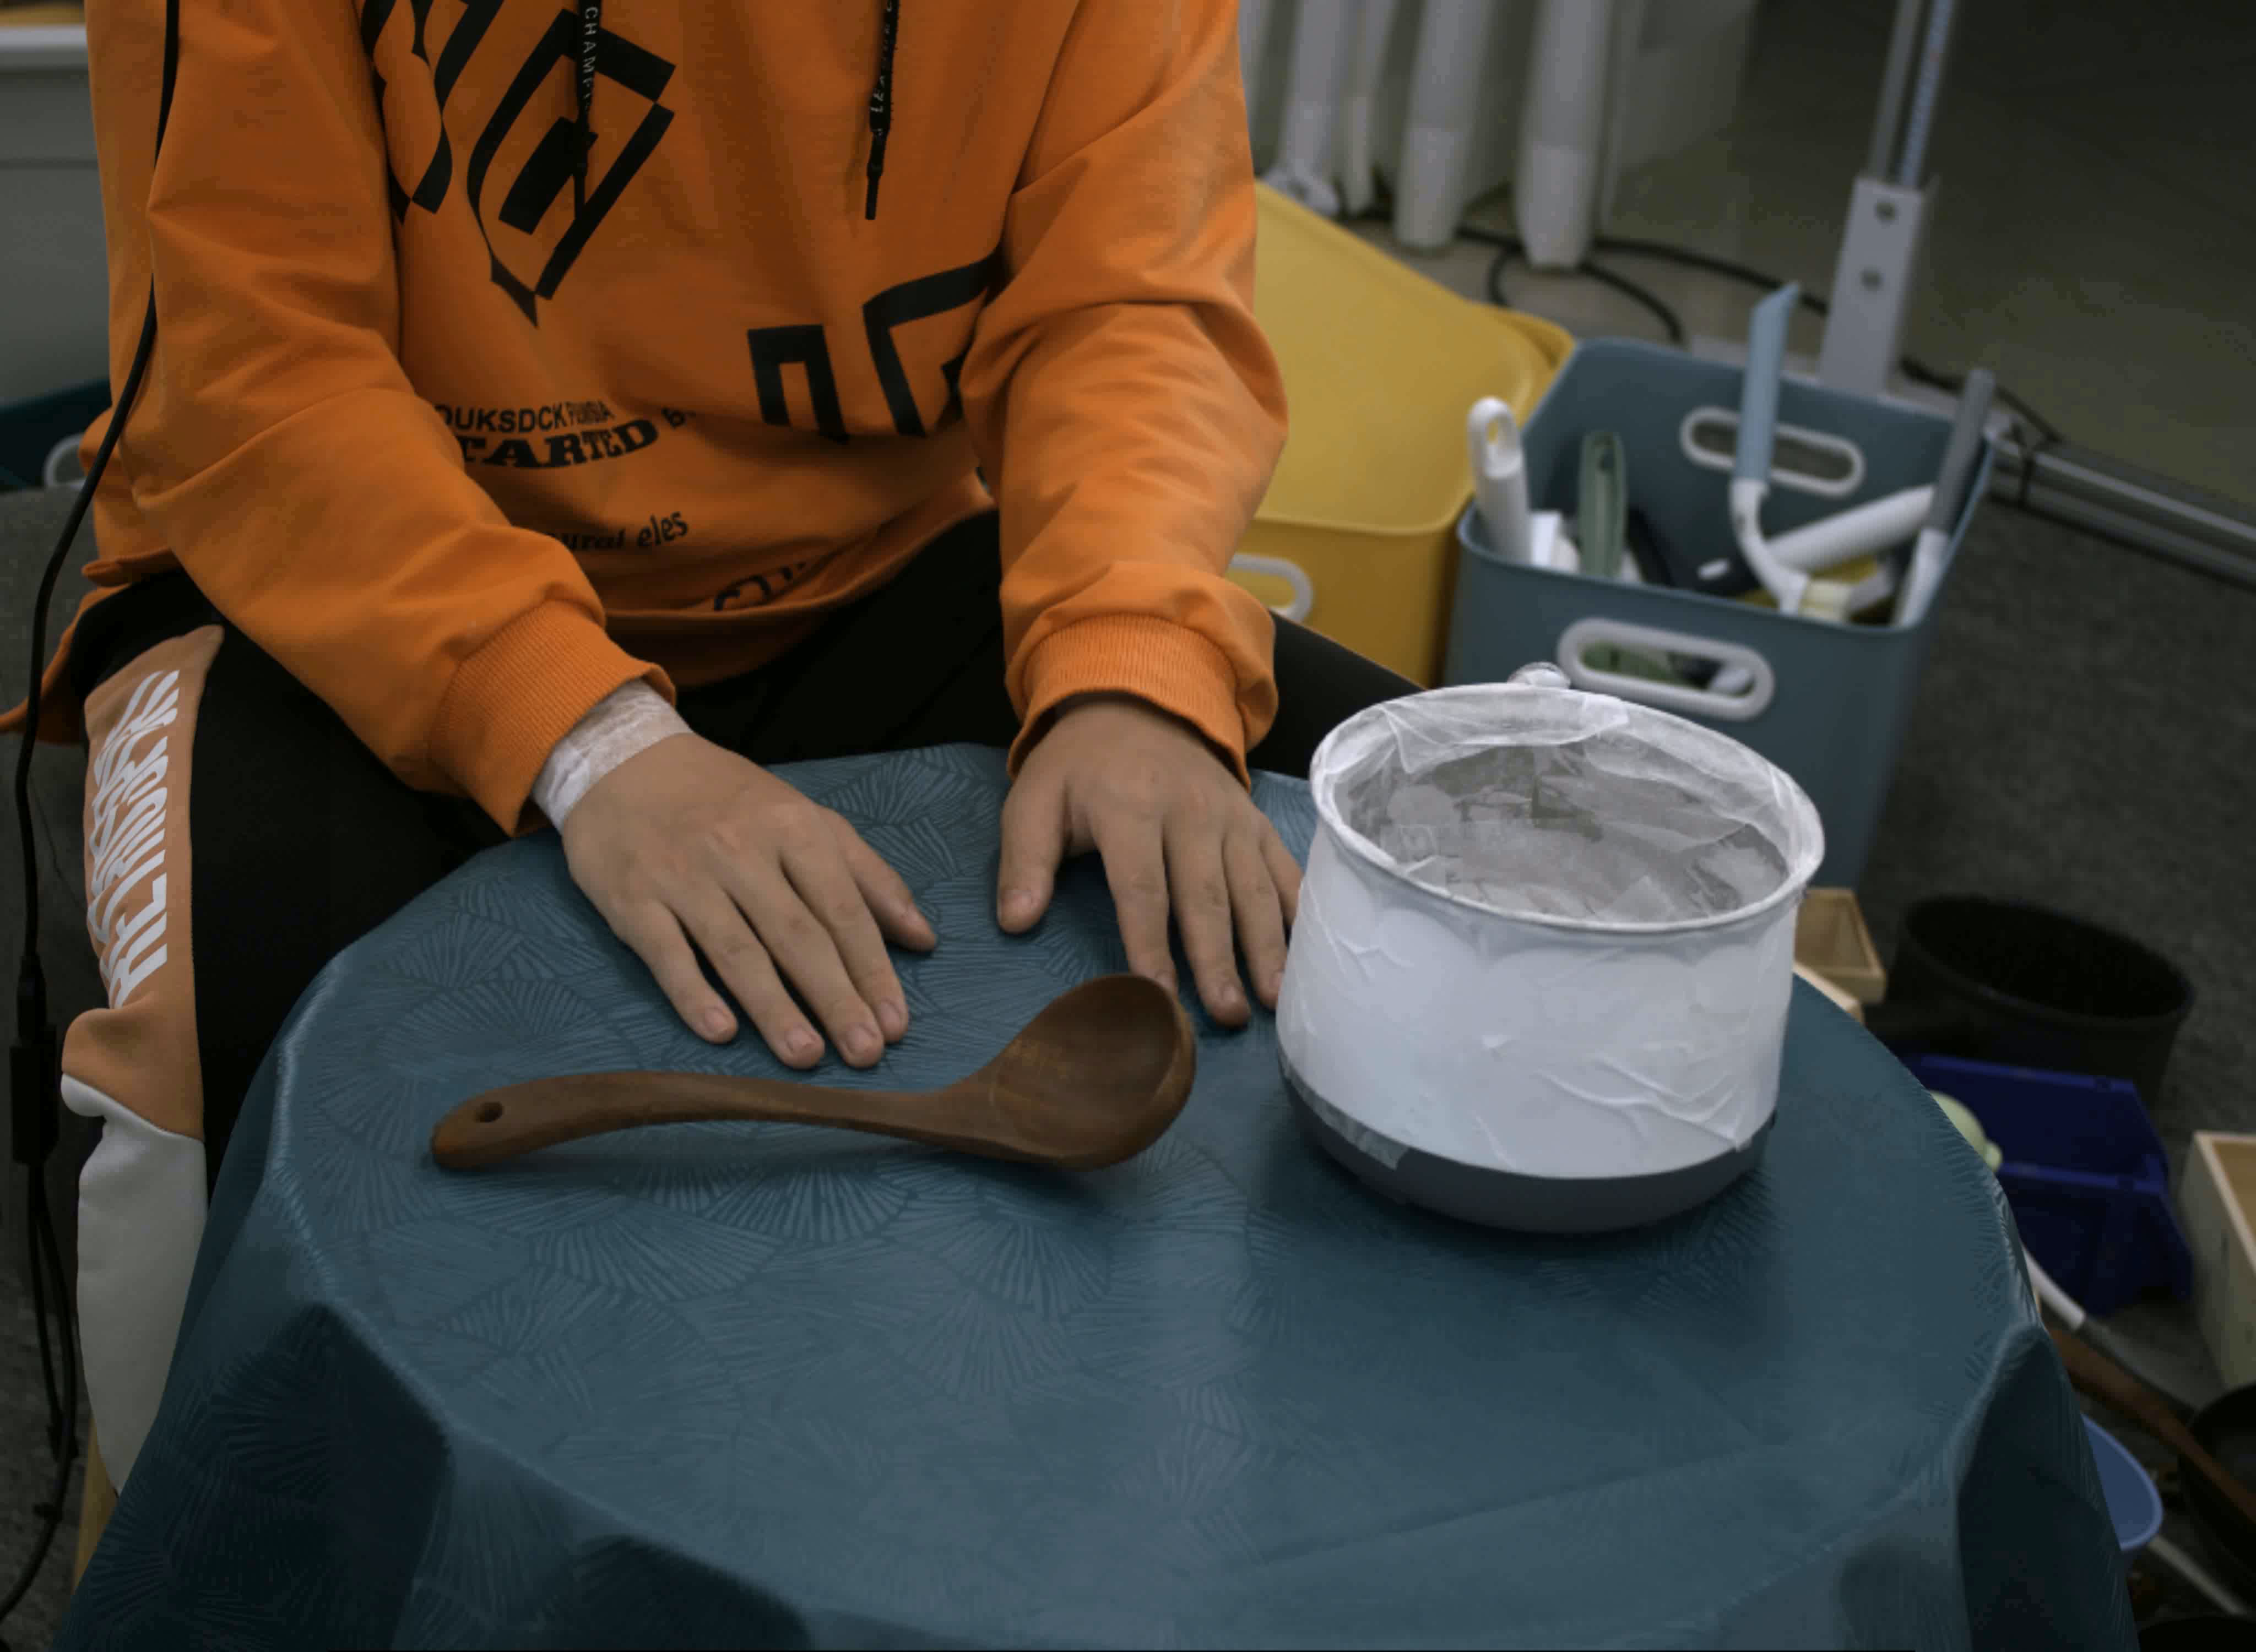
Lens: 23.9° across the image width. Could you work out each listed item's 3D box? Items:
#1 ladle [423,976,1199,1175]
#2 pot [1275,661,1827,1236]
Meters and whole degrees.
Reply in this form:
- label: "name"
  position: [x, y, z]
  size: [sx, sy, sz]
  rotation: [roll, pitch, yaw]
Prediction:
- label: "ladle"
  position: [-0.105, 0.085, 1.785]
  size: [0.259, 0.065, 0.077]
  rotation: [1, 35, -13]
- label: "pot"
  position: [0.141, 0.035, 1.857]
  size: [0.178, 0.136, 0.235]
  rotation: [5, 27, -5]
